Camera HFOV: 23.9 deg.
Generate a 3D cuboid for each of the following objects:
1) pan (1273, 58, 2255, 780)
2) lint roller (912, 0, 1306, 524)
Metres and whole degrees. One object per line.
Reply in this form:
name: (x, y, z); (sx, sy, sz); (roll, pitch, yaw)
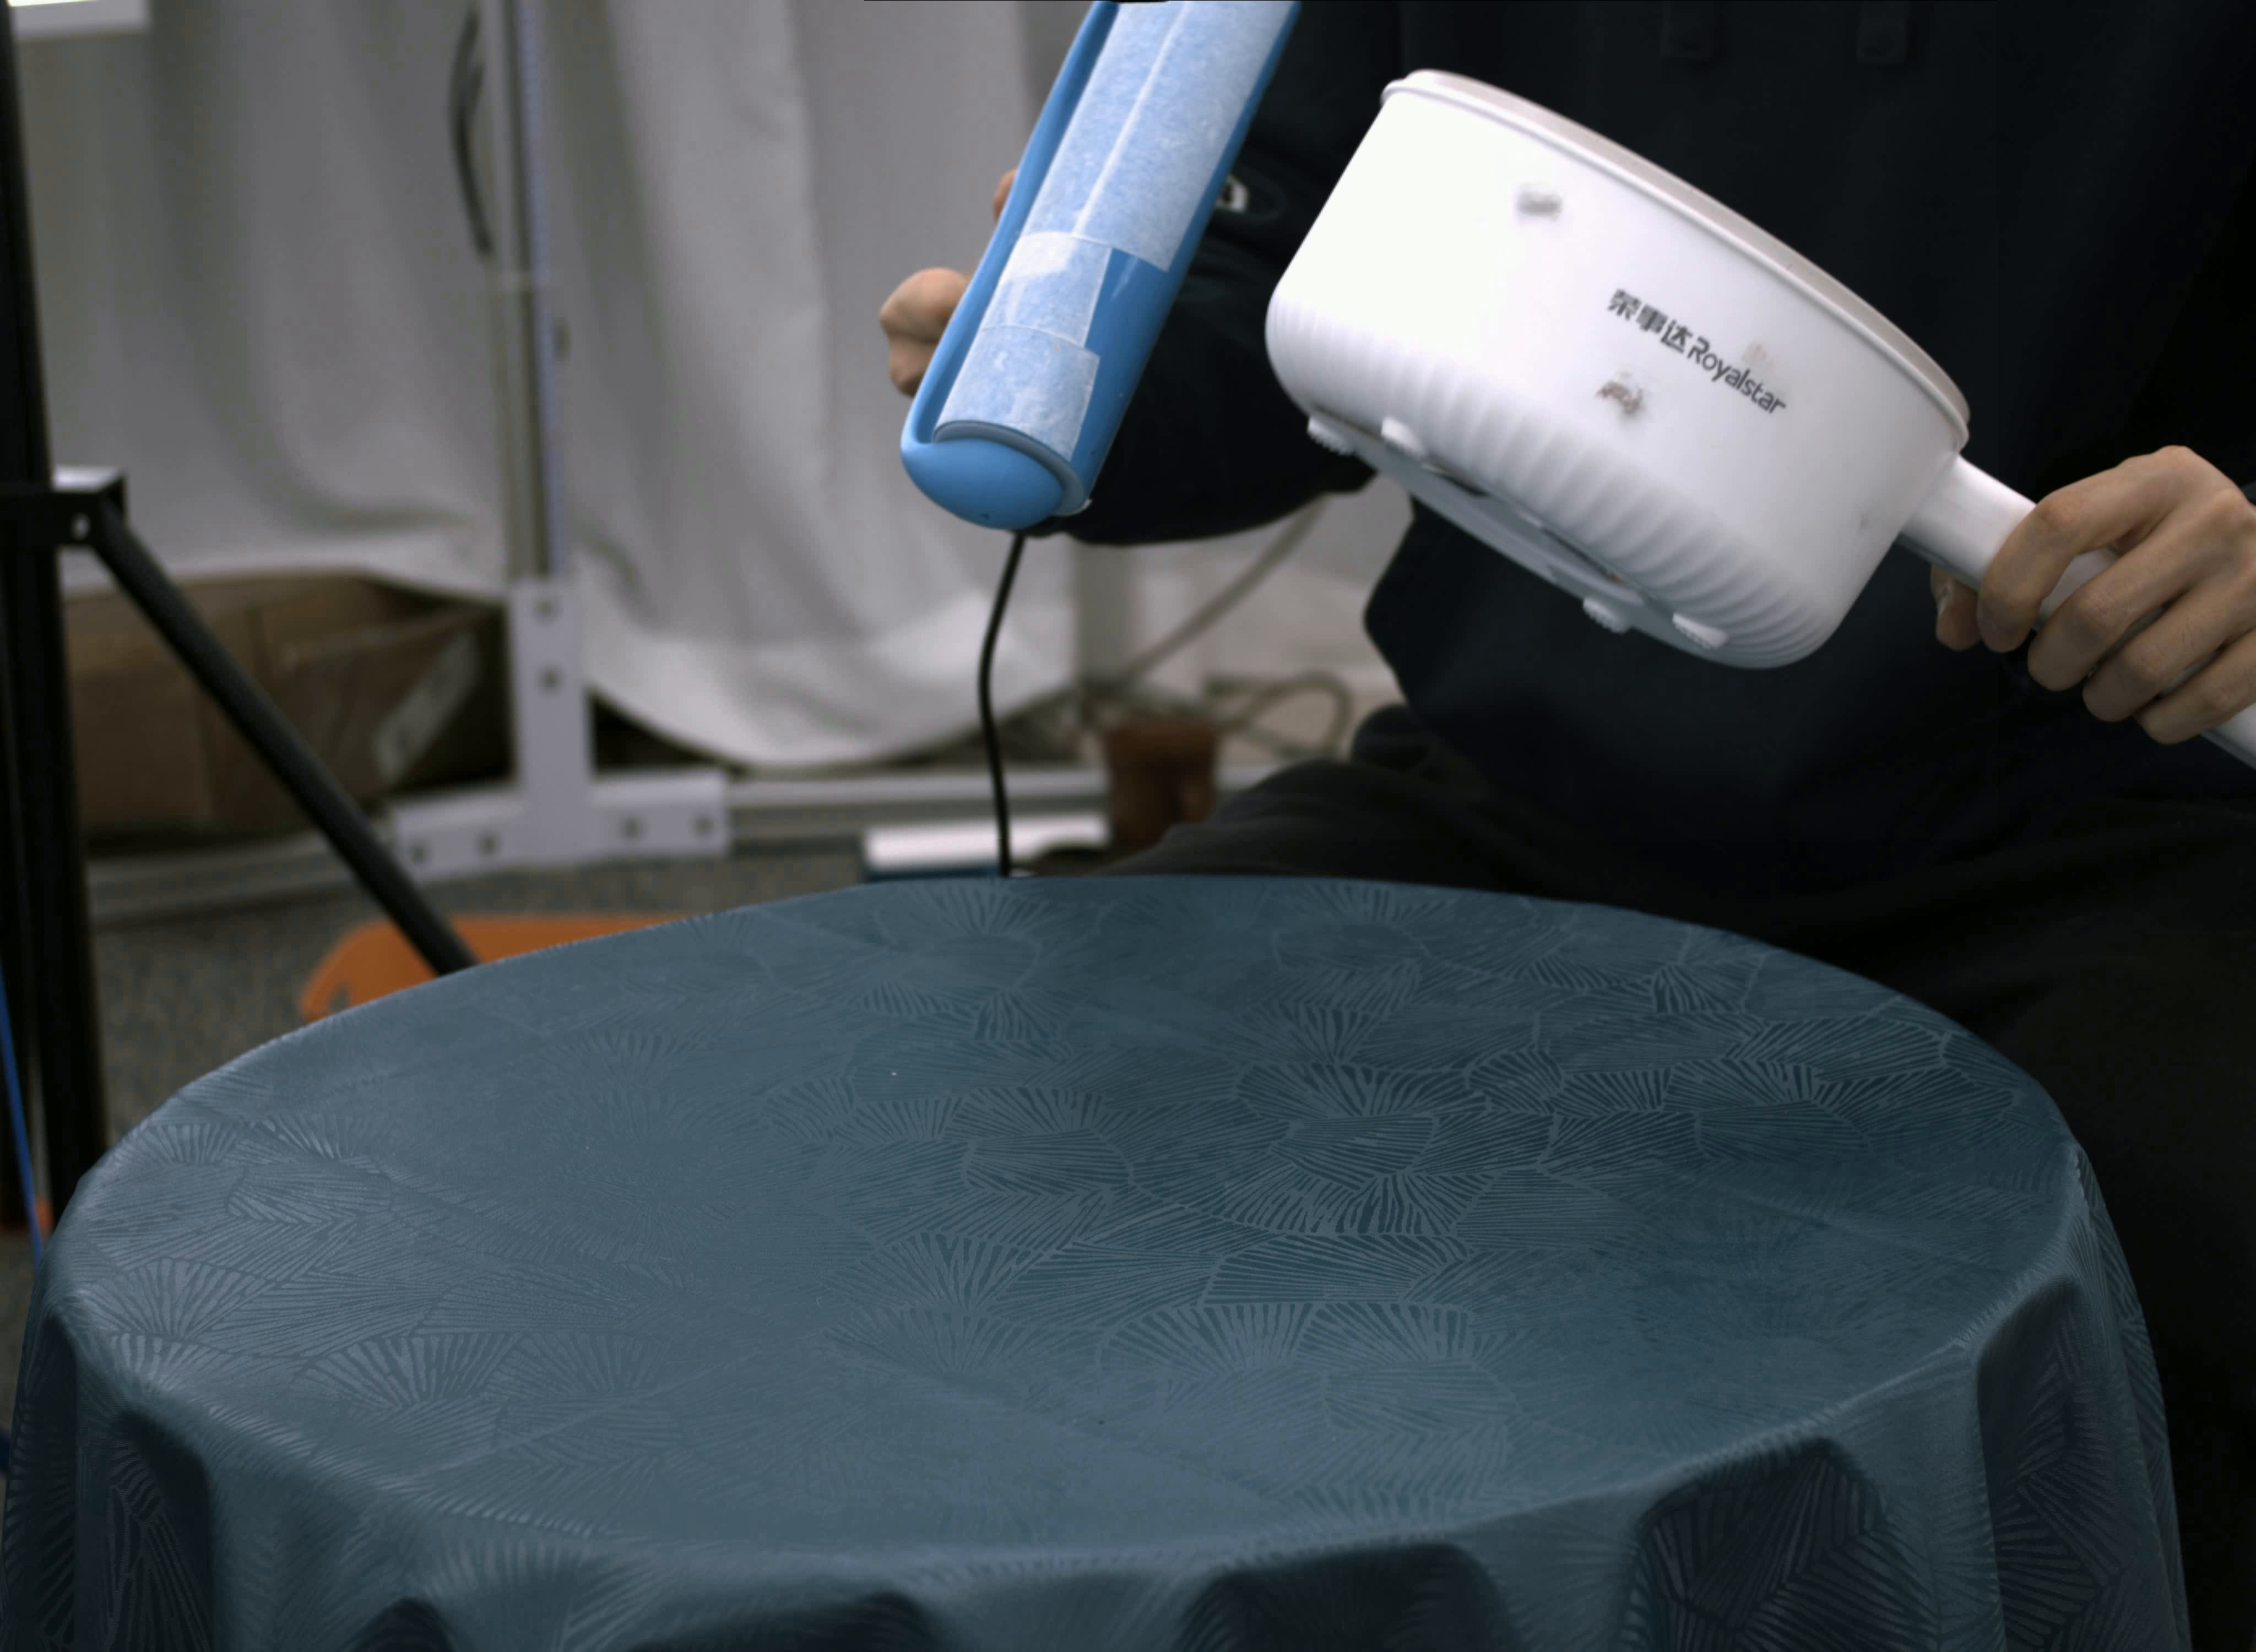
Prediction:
pan: (0.202, -0.086, 1.575); (0.352, 0.102, 0.202); (34, -2, -8)
lint roller: (-0.018, -0.179, 1.774); (0.067, 0.229, 0.181); (24, -24, -8)
